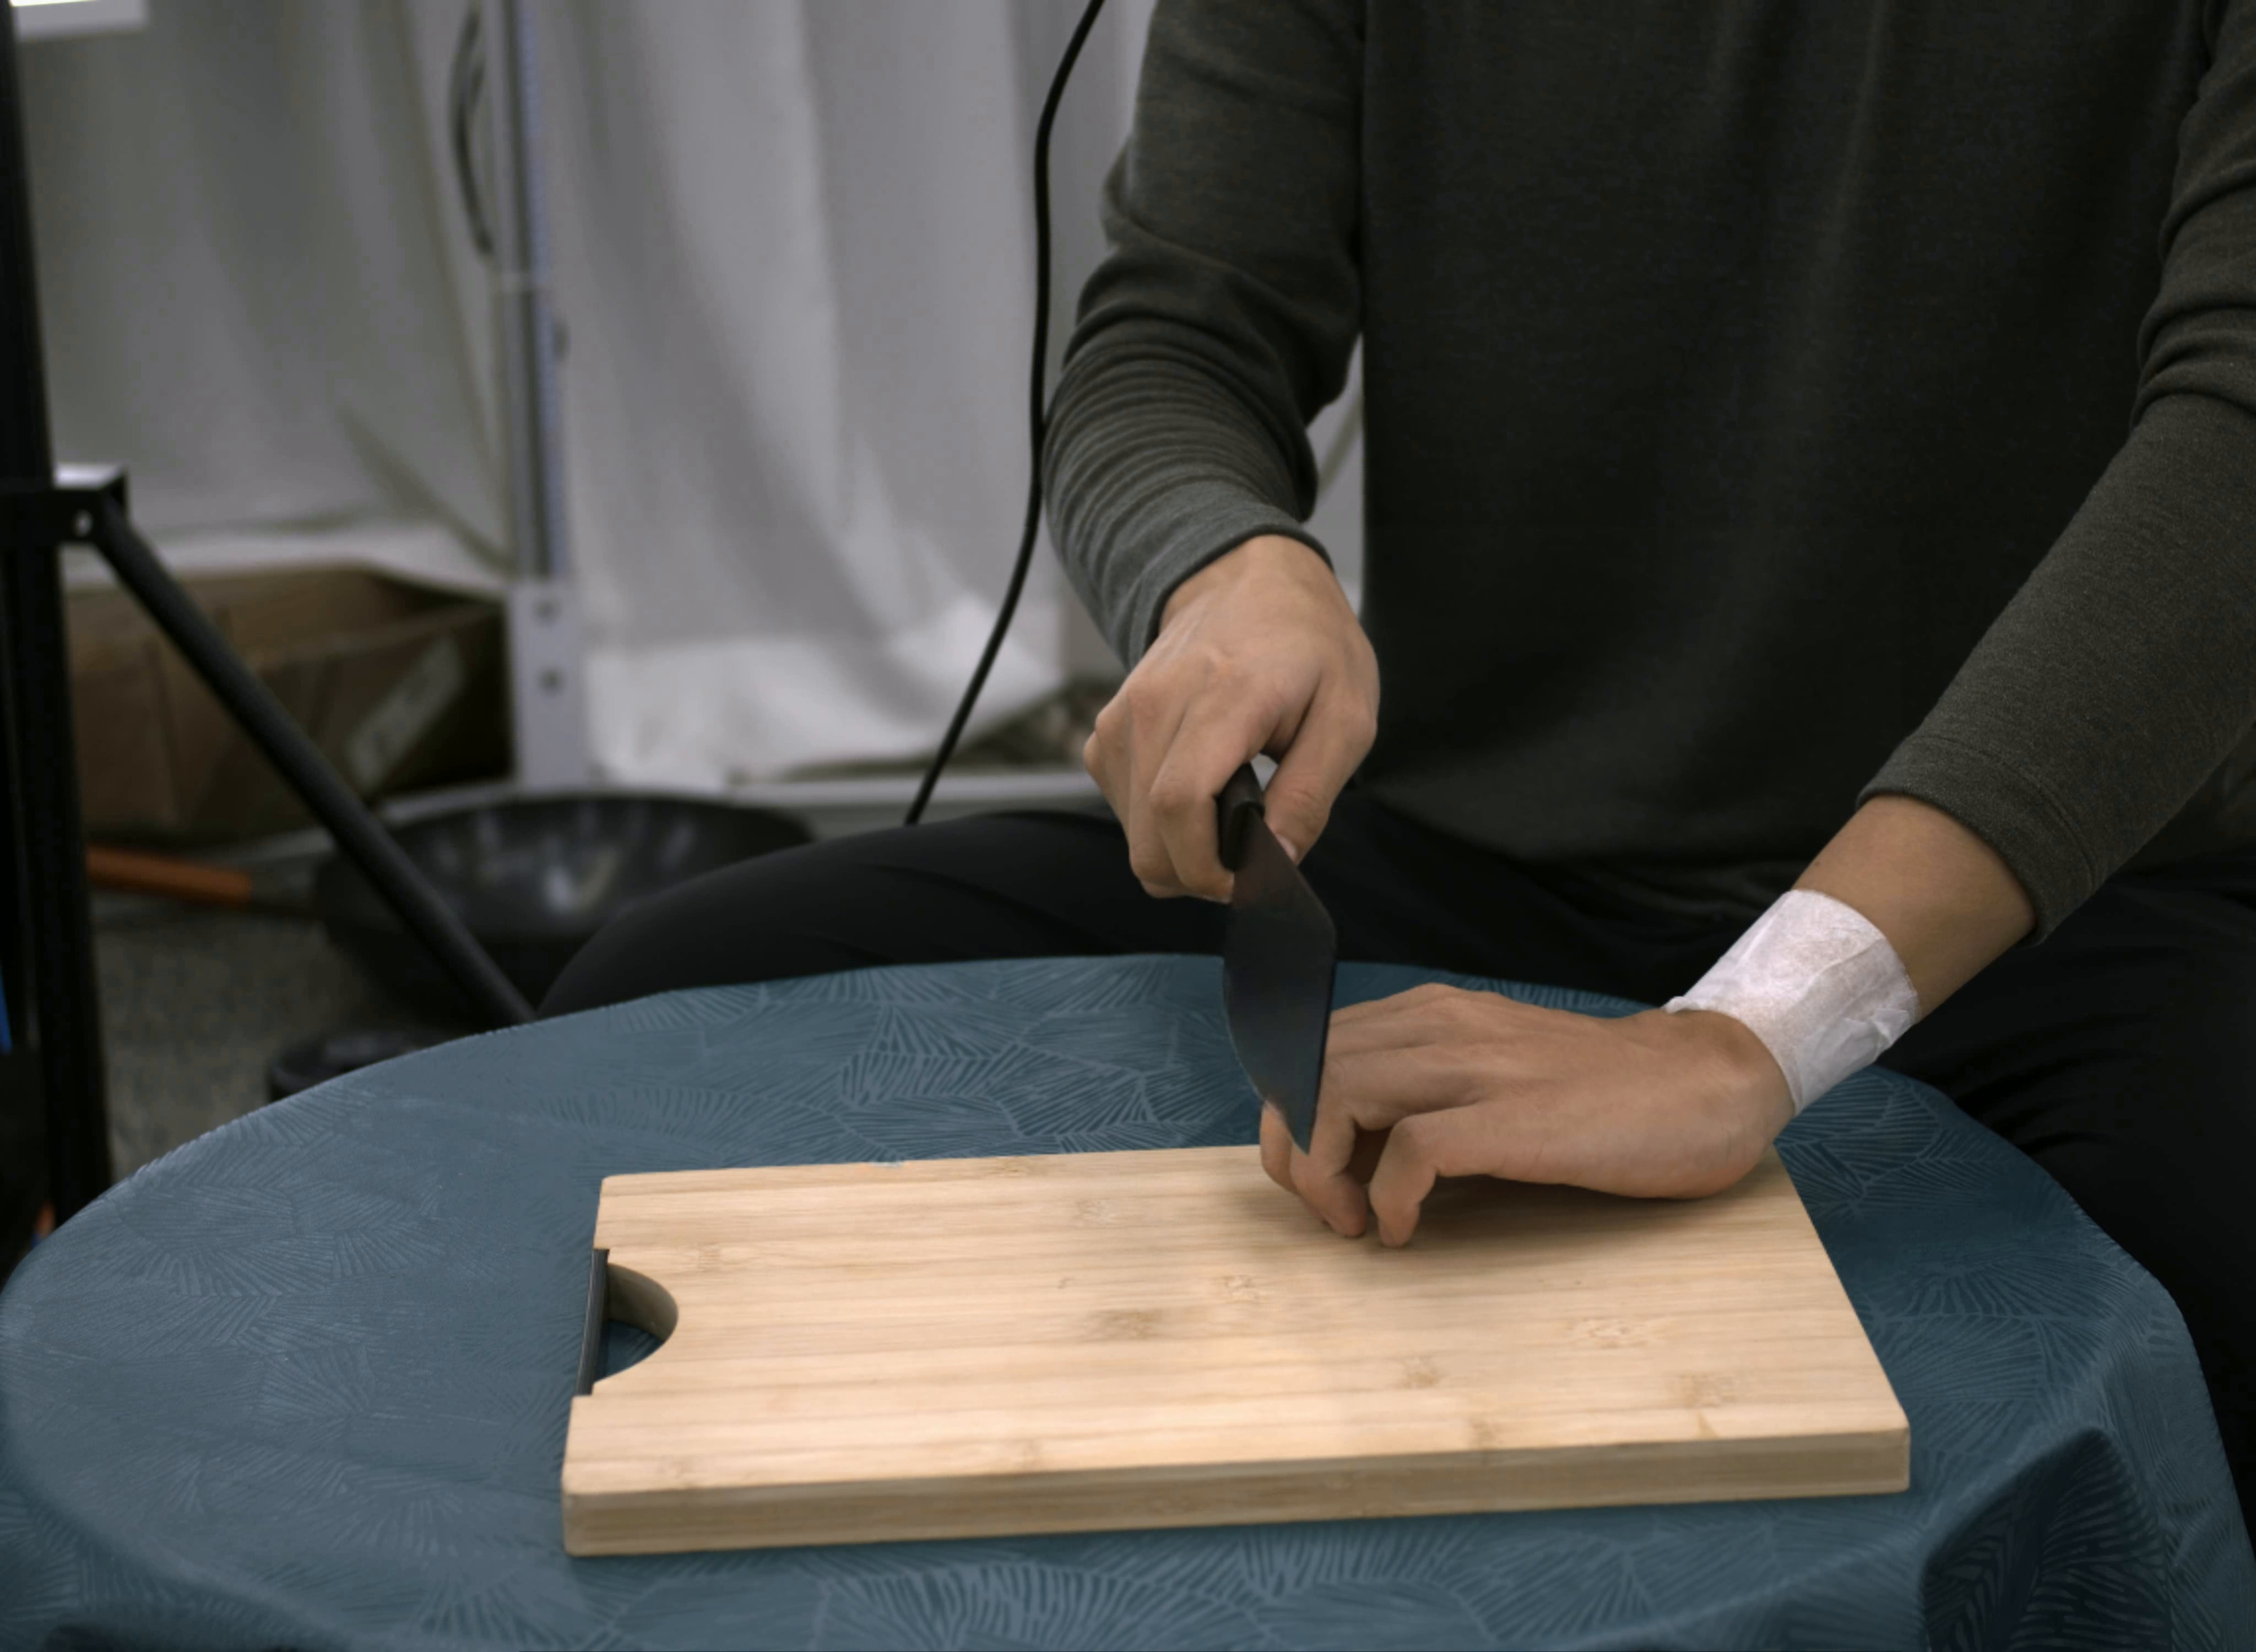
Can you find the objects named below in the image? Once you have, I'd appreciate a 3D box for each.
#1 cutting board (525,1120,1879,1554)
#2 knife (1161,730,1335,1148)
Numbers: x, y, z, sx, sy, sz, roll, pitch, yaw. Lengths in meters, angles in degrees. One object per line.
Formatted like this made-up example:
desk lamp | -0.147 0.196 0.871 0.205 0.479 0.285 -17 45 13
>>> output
cutting board | 0.017 0.135 1.433 0.346 0.023 0.252 -3 15 -1
knife | 0.034 0.024 1.499 0.020 0.081 0.304 6 14 -7
